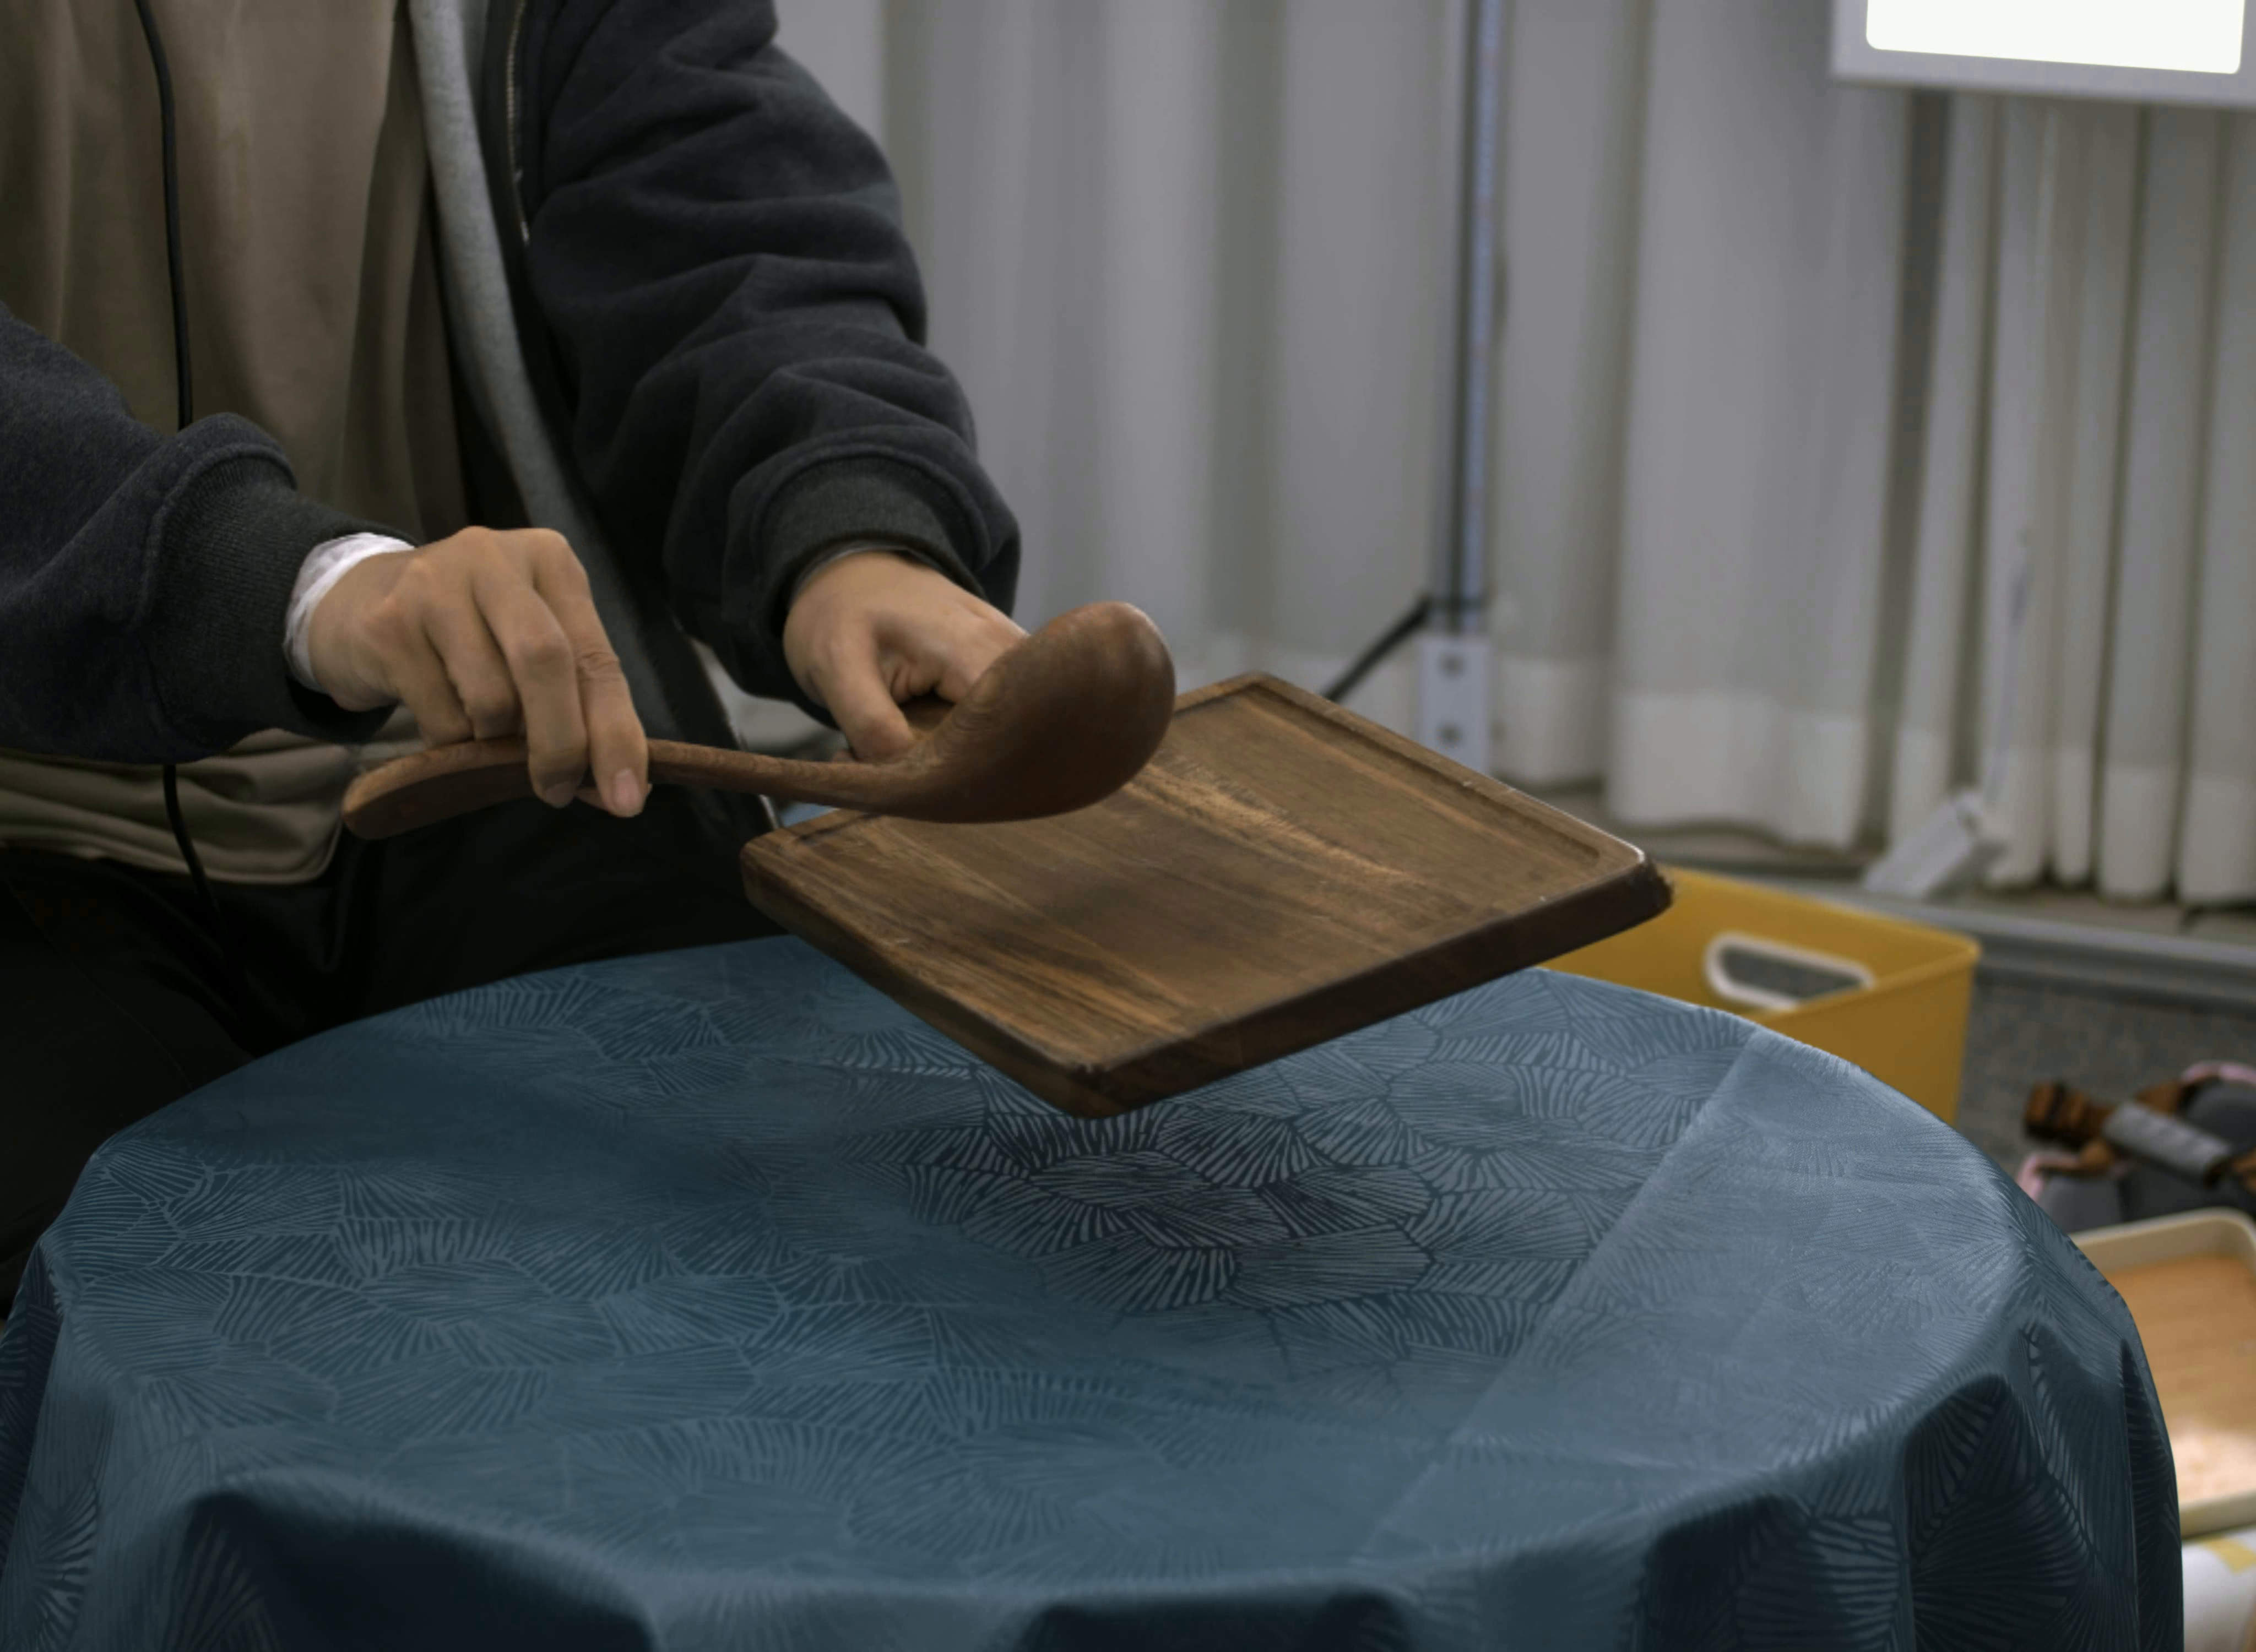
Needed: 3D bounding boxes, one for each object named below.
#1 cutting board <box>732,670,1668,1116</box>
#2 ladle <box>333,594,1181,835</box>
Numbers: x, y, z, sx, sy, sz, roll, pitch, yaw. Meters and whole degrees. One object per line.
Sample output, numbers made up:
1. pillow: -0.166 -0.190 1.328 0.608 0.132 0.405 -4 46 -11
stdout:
1. cutting board: -0.006 0.002 1.637 0.201 0.023 0.347 -18 23 -23
2. ladle: -0.112 -0.030 1.586 0.258 0.077 0.065 -2 56 13
